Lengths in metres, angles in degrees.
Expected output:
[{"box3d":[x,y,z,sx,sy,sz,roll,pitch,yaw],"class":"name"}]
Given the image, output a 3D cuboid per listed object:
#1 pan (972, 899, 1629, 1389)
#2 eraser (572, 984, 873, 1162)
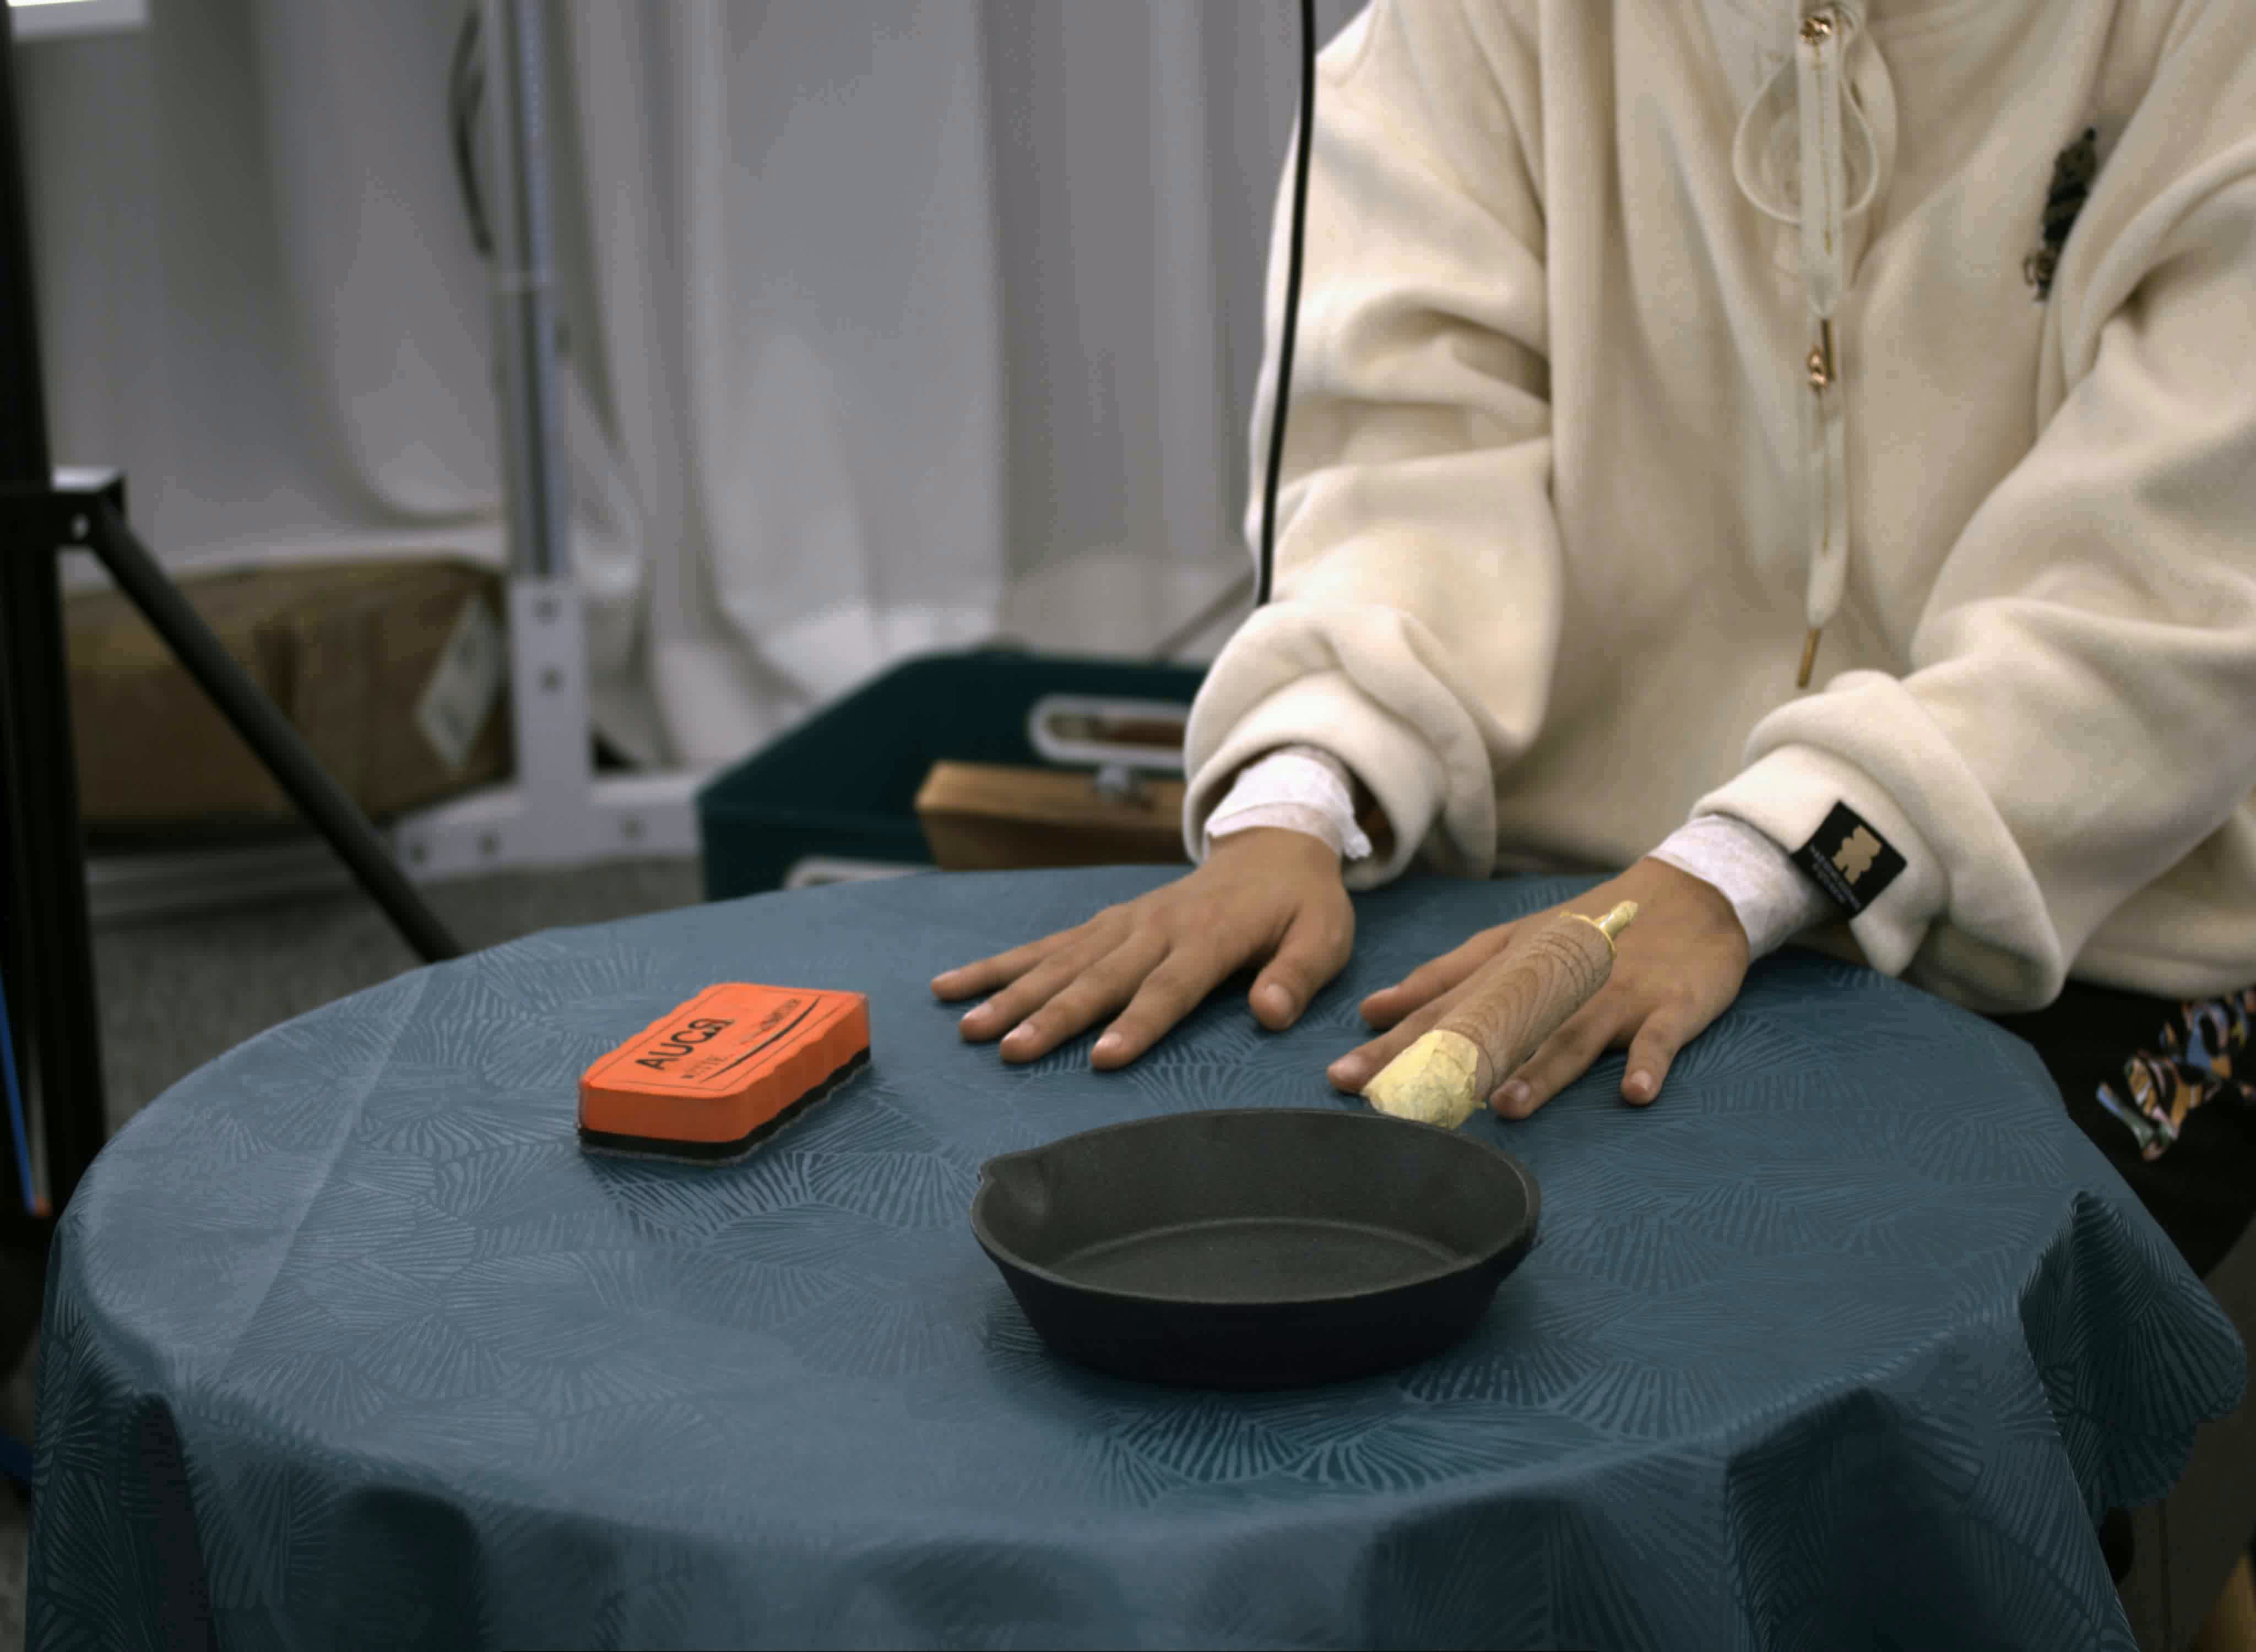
[{"box3d":[0.076,0.088,1.523,0.172,0.049,0.318,6,19,29],"class":"pan"},{"box3d":[-0.124,0.076,1.649,0.060,0.023,0.106,4,17,23],"class":"eraser"}]
